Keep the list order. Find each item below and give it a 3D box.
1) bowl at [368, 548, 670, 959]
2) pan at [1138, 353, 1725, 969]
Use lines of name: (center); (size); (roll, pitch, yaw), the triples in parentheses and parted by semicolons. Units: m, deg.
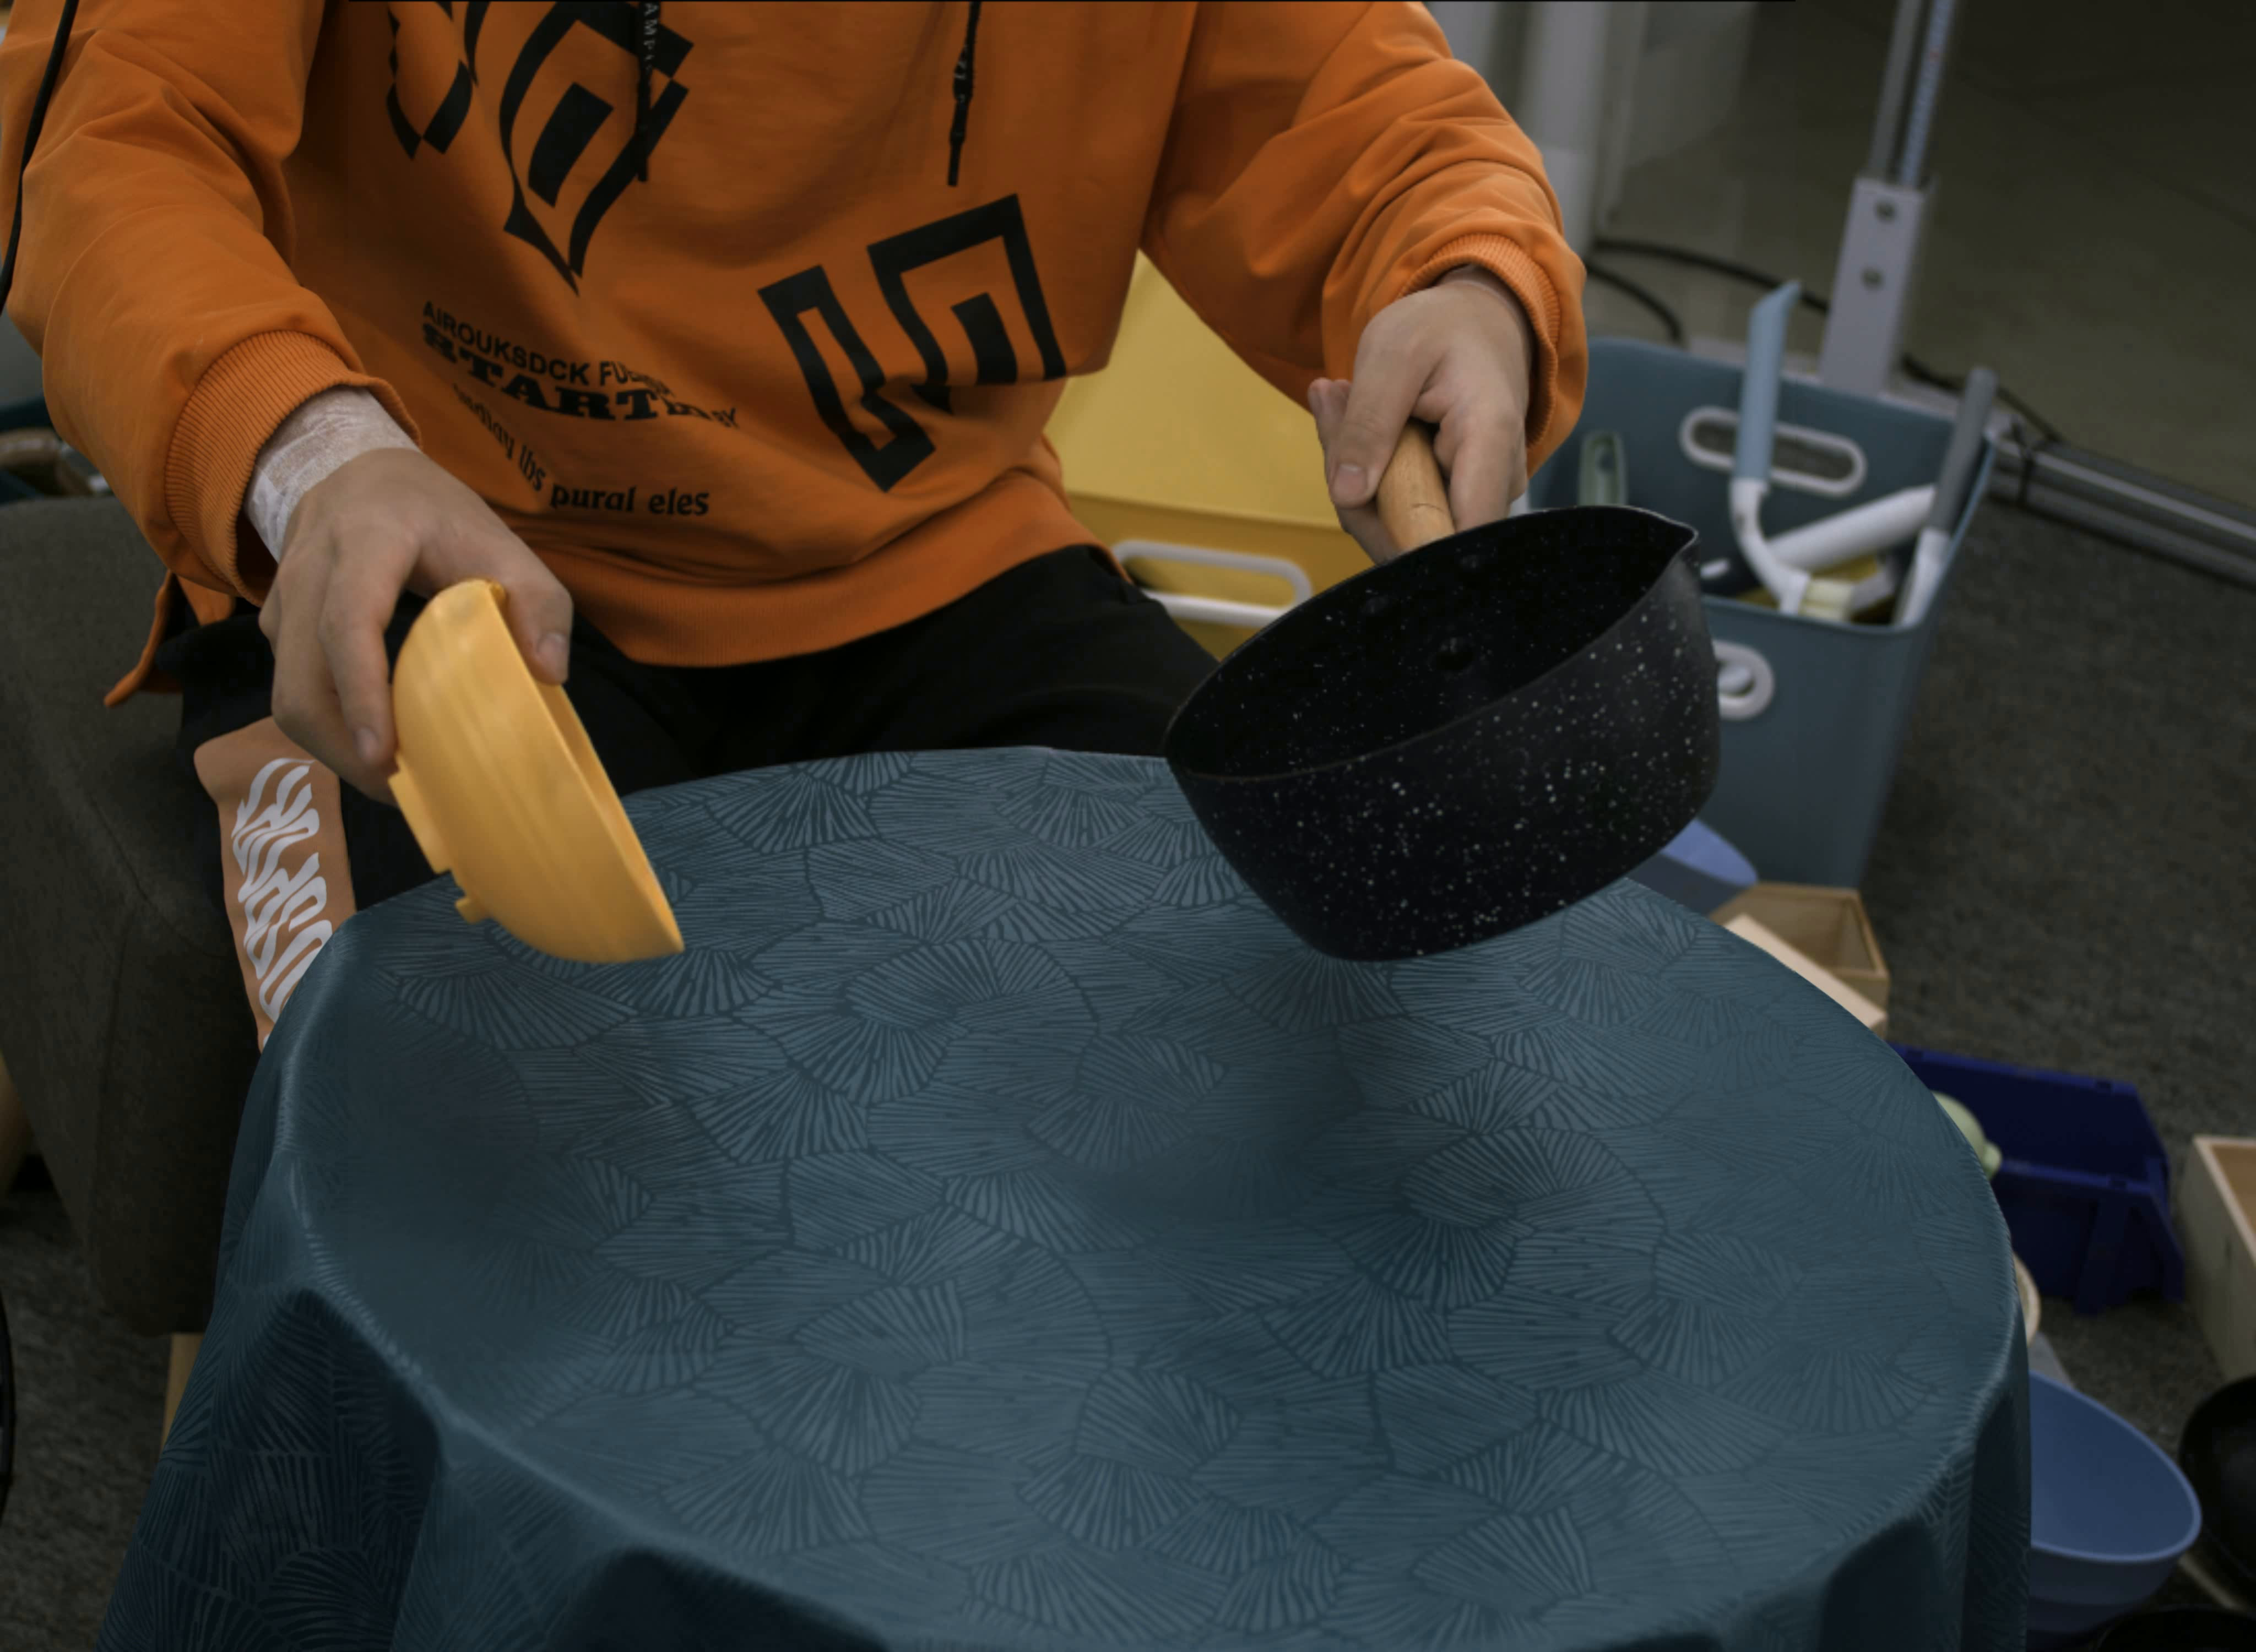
bowl: (-0.205, -0.013, 1.723); (0.060, 0.144, 0.146); (-27, 33, -4)
pan: (0.109, -0.066, 1.858); (0.207, 0.108, 0.344); (-23, 20, 9)
